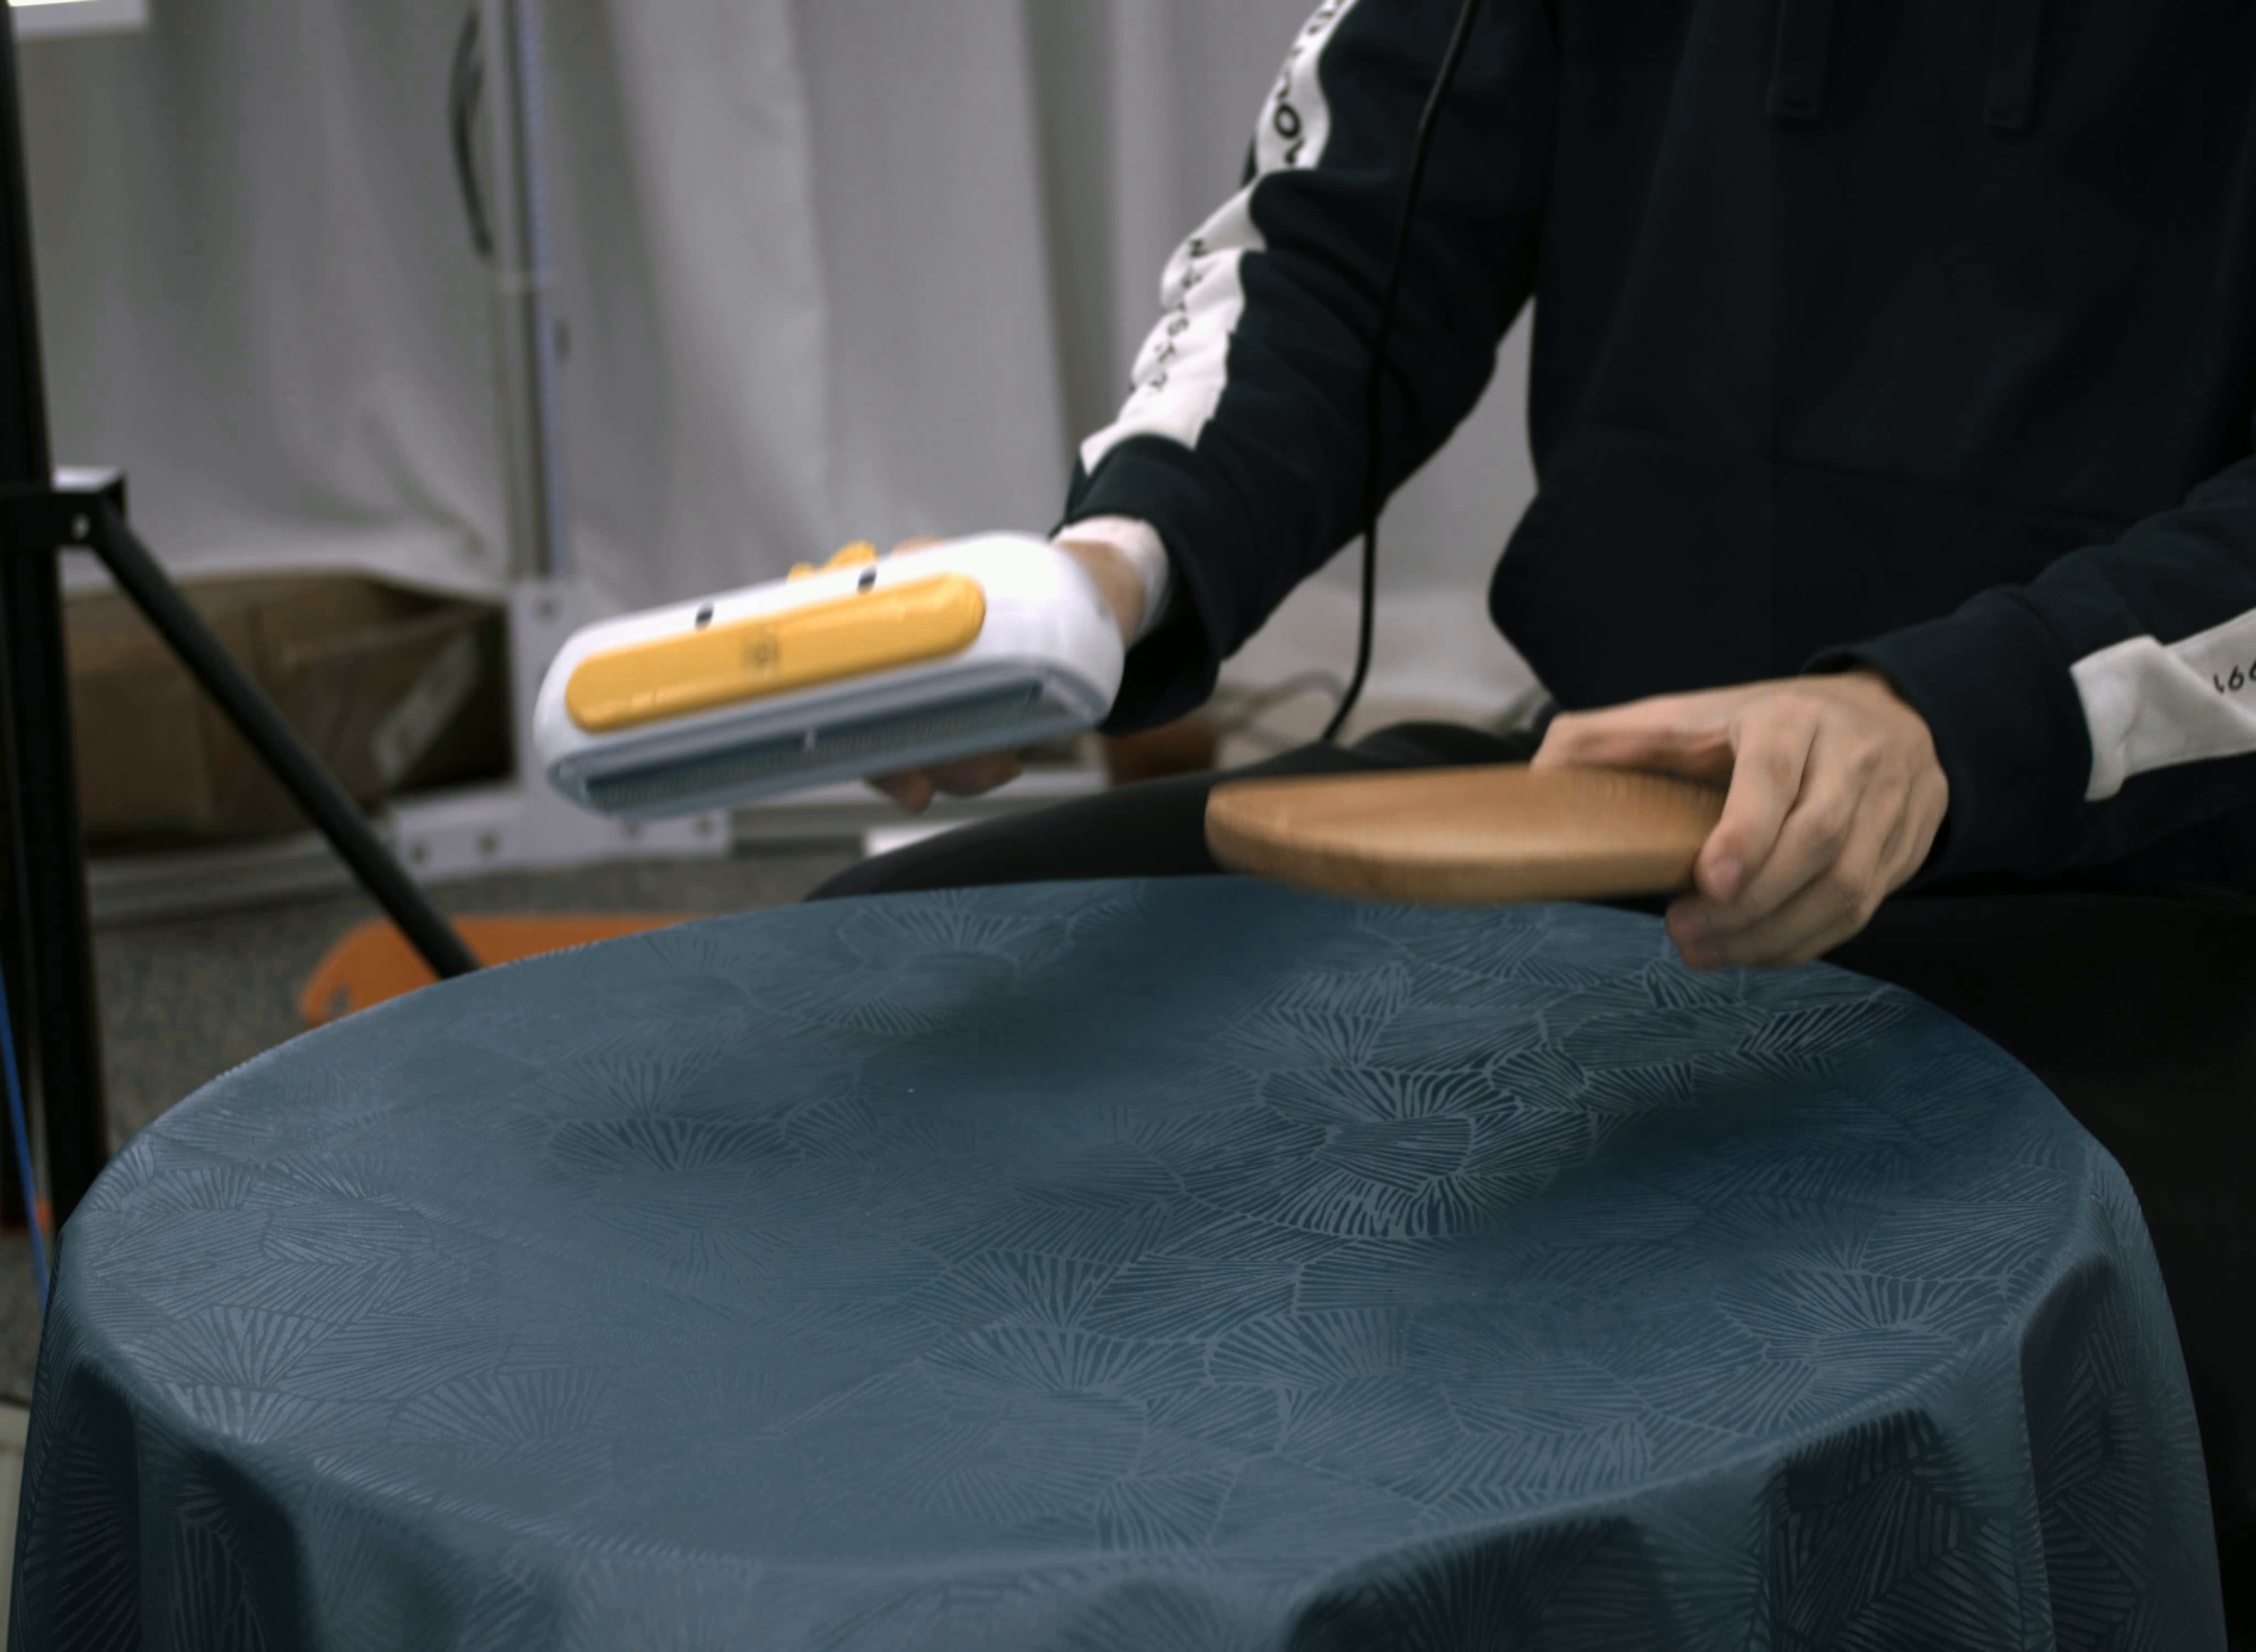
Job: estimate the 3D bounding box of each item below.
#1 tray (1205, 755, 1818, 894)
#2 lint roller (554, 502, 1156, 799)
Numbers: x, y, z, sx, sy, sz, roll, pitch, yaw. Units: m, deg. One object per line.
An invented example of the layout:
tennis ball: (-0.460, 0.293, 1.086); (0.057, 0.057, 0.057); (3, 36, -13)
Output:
tray: (0.114, 0.000, 1.544); (0.104, 0.020, 0.225); (15, 13, 41)
lint roller: (-0.065, -0.043, 1.695); (0.195, 0.075, 0.188); (-15, -20, 20)
